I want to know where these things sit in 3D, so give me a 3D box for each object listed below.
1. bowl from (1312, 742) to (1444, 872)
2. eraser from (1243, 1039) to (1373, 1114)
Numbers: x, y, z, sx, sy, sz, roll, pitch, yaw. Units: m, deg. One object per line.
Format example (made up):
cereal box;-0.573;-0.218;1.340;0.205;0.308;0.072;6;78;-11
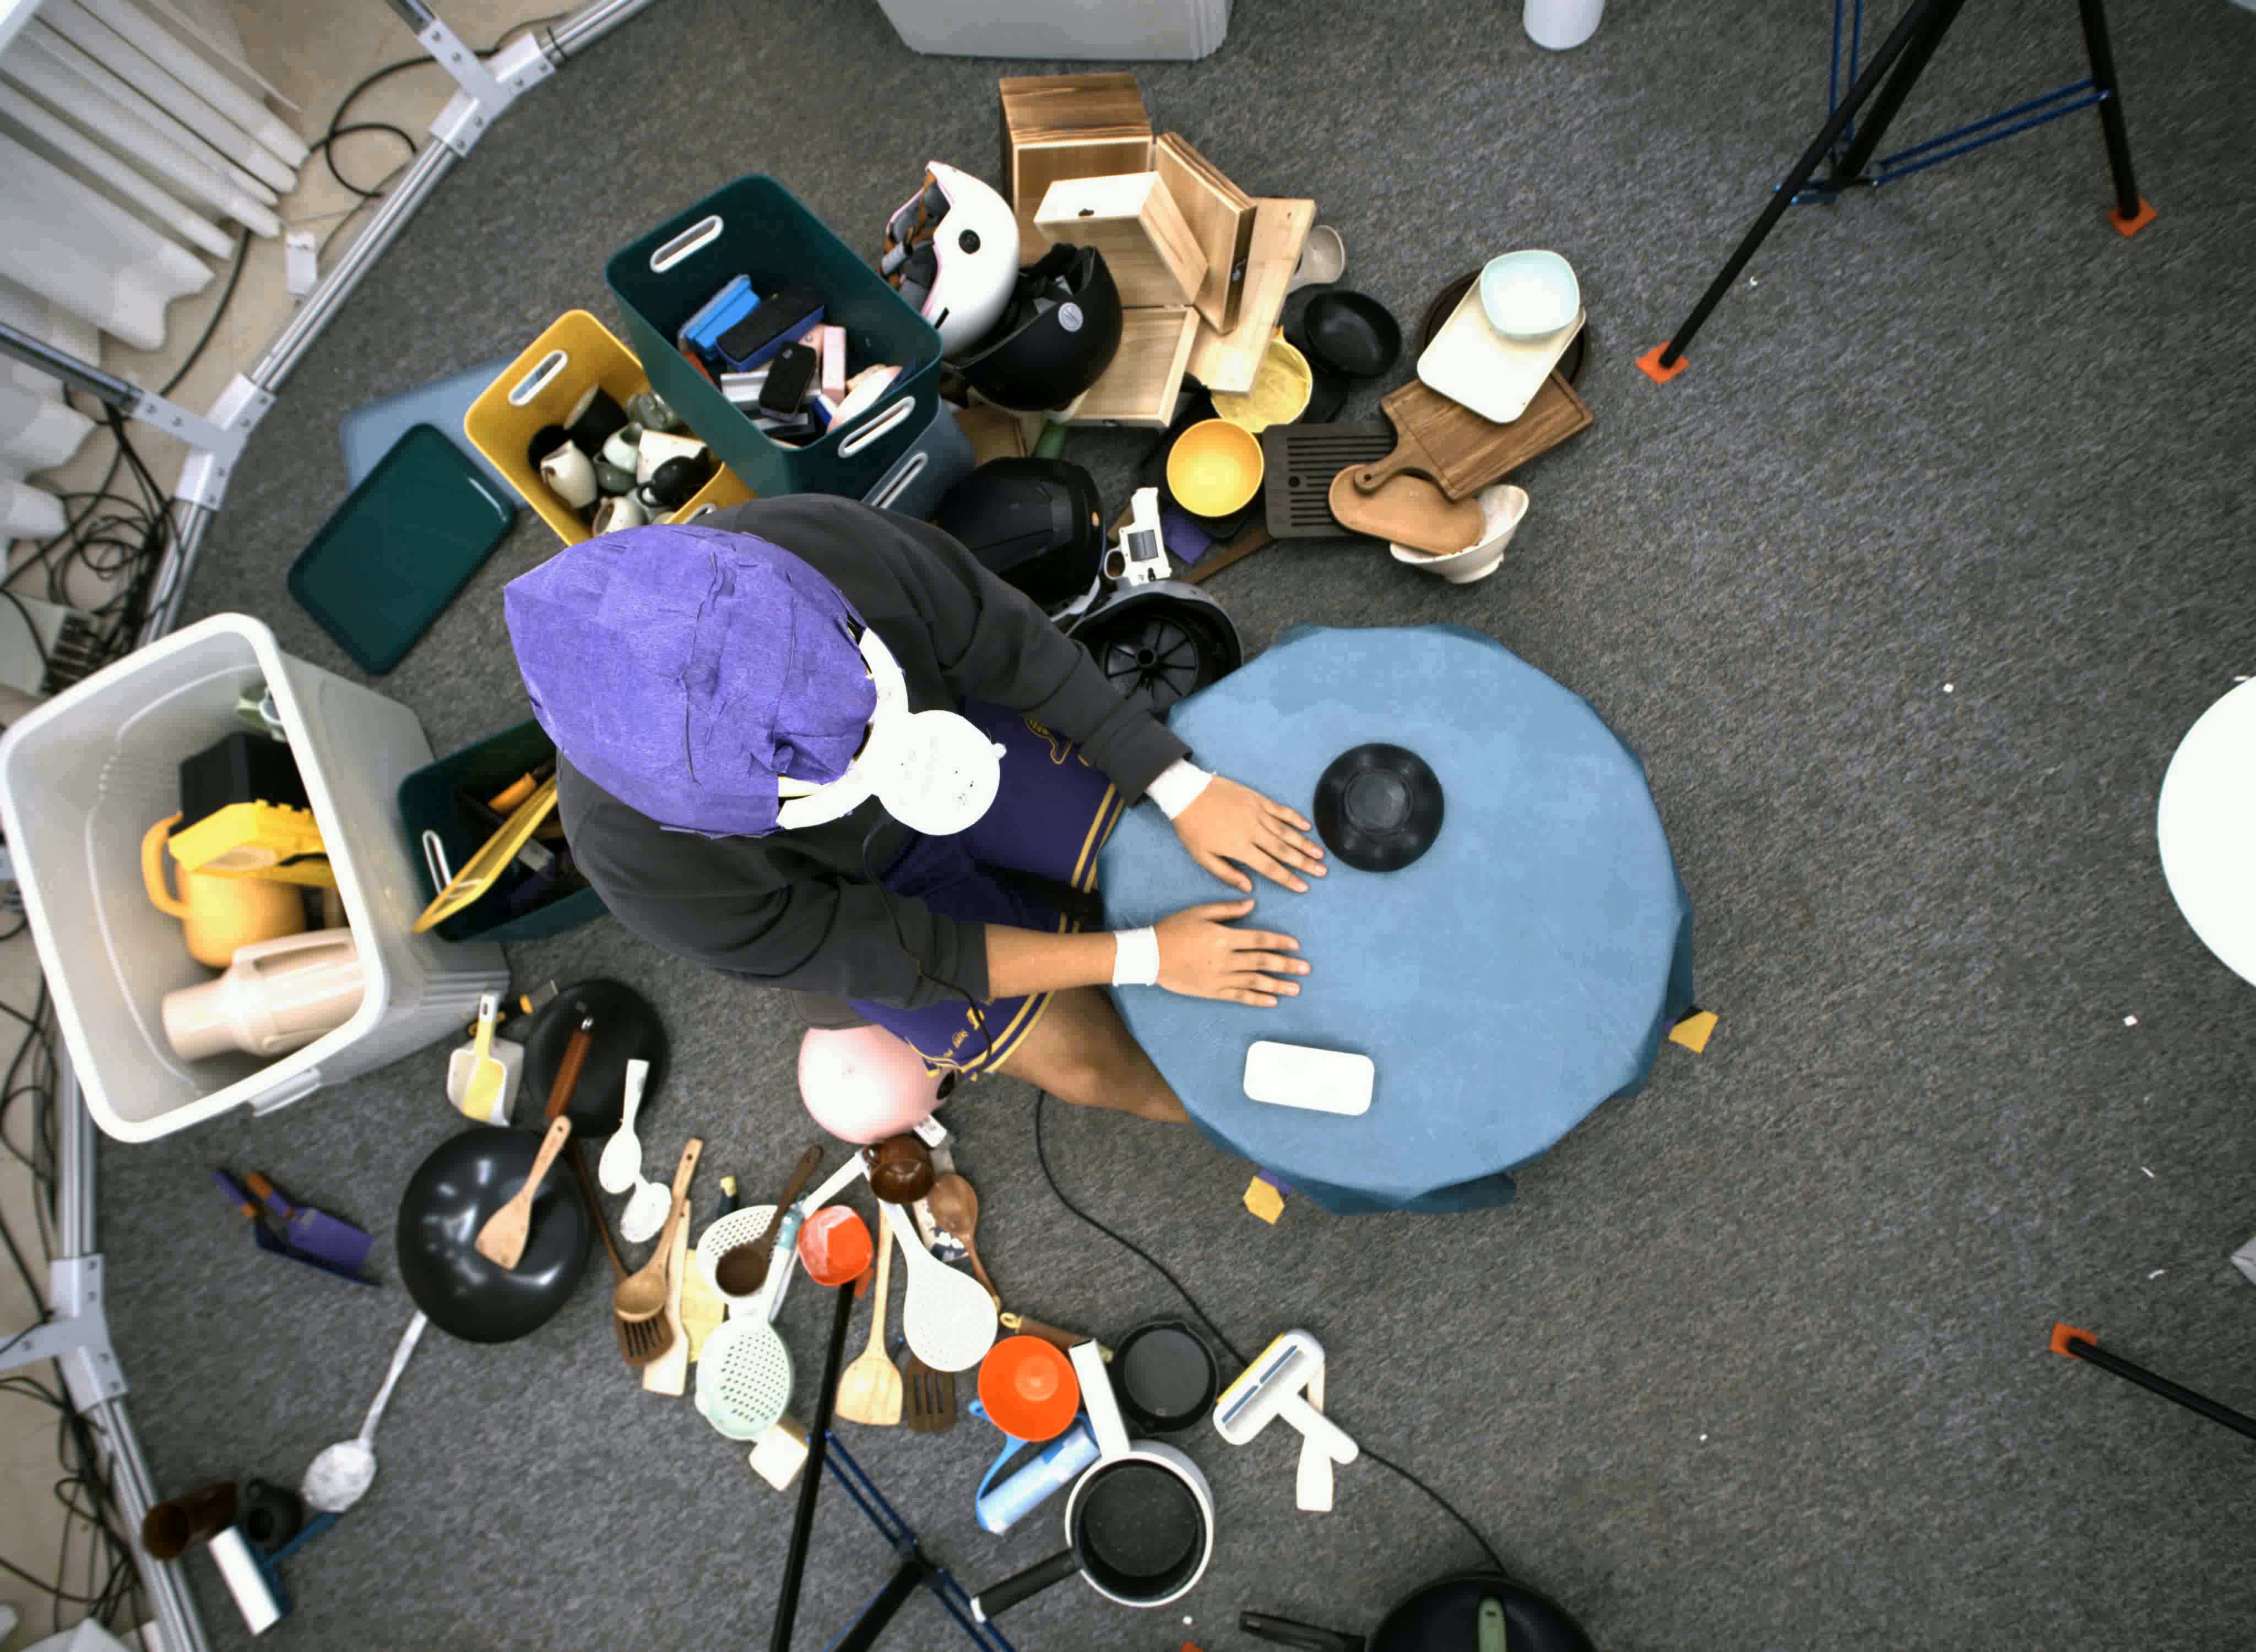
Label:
bowl;0.261;-0.024;1.440;0.140;0.050;0.139;-1;88;10
eraser;0.188;0.258;1.448;0.131;0.034;0.063;9;87;9
